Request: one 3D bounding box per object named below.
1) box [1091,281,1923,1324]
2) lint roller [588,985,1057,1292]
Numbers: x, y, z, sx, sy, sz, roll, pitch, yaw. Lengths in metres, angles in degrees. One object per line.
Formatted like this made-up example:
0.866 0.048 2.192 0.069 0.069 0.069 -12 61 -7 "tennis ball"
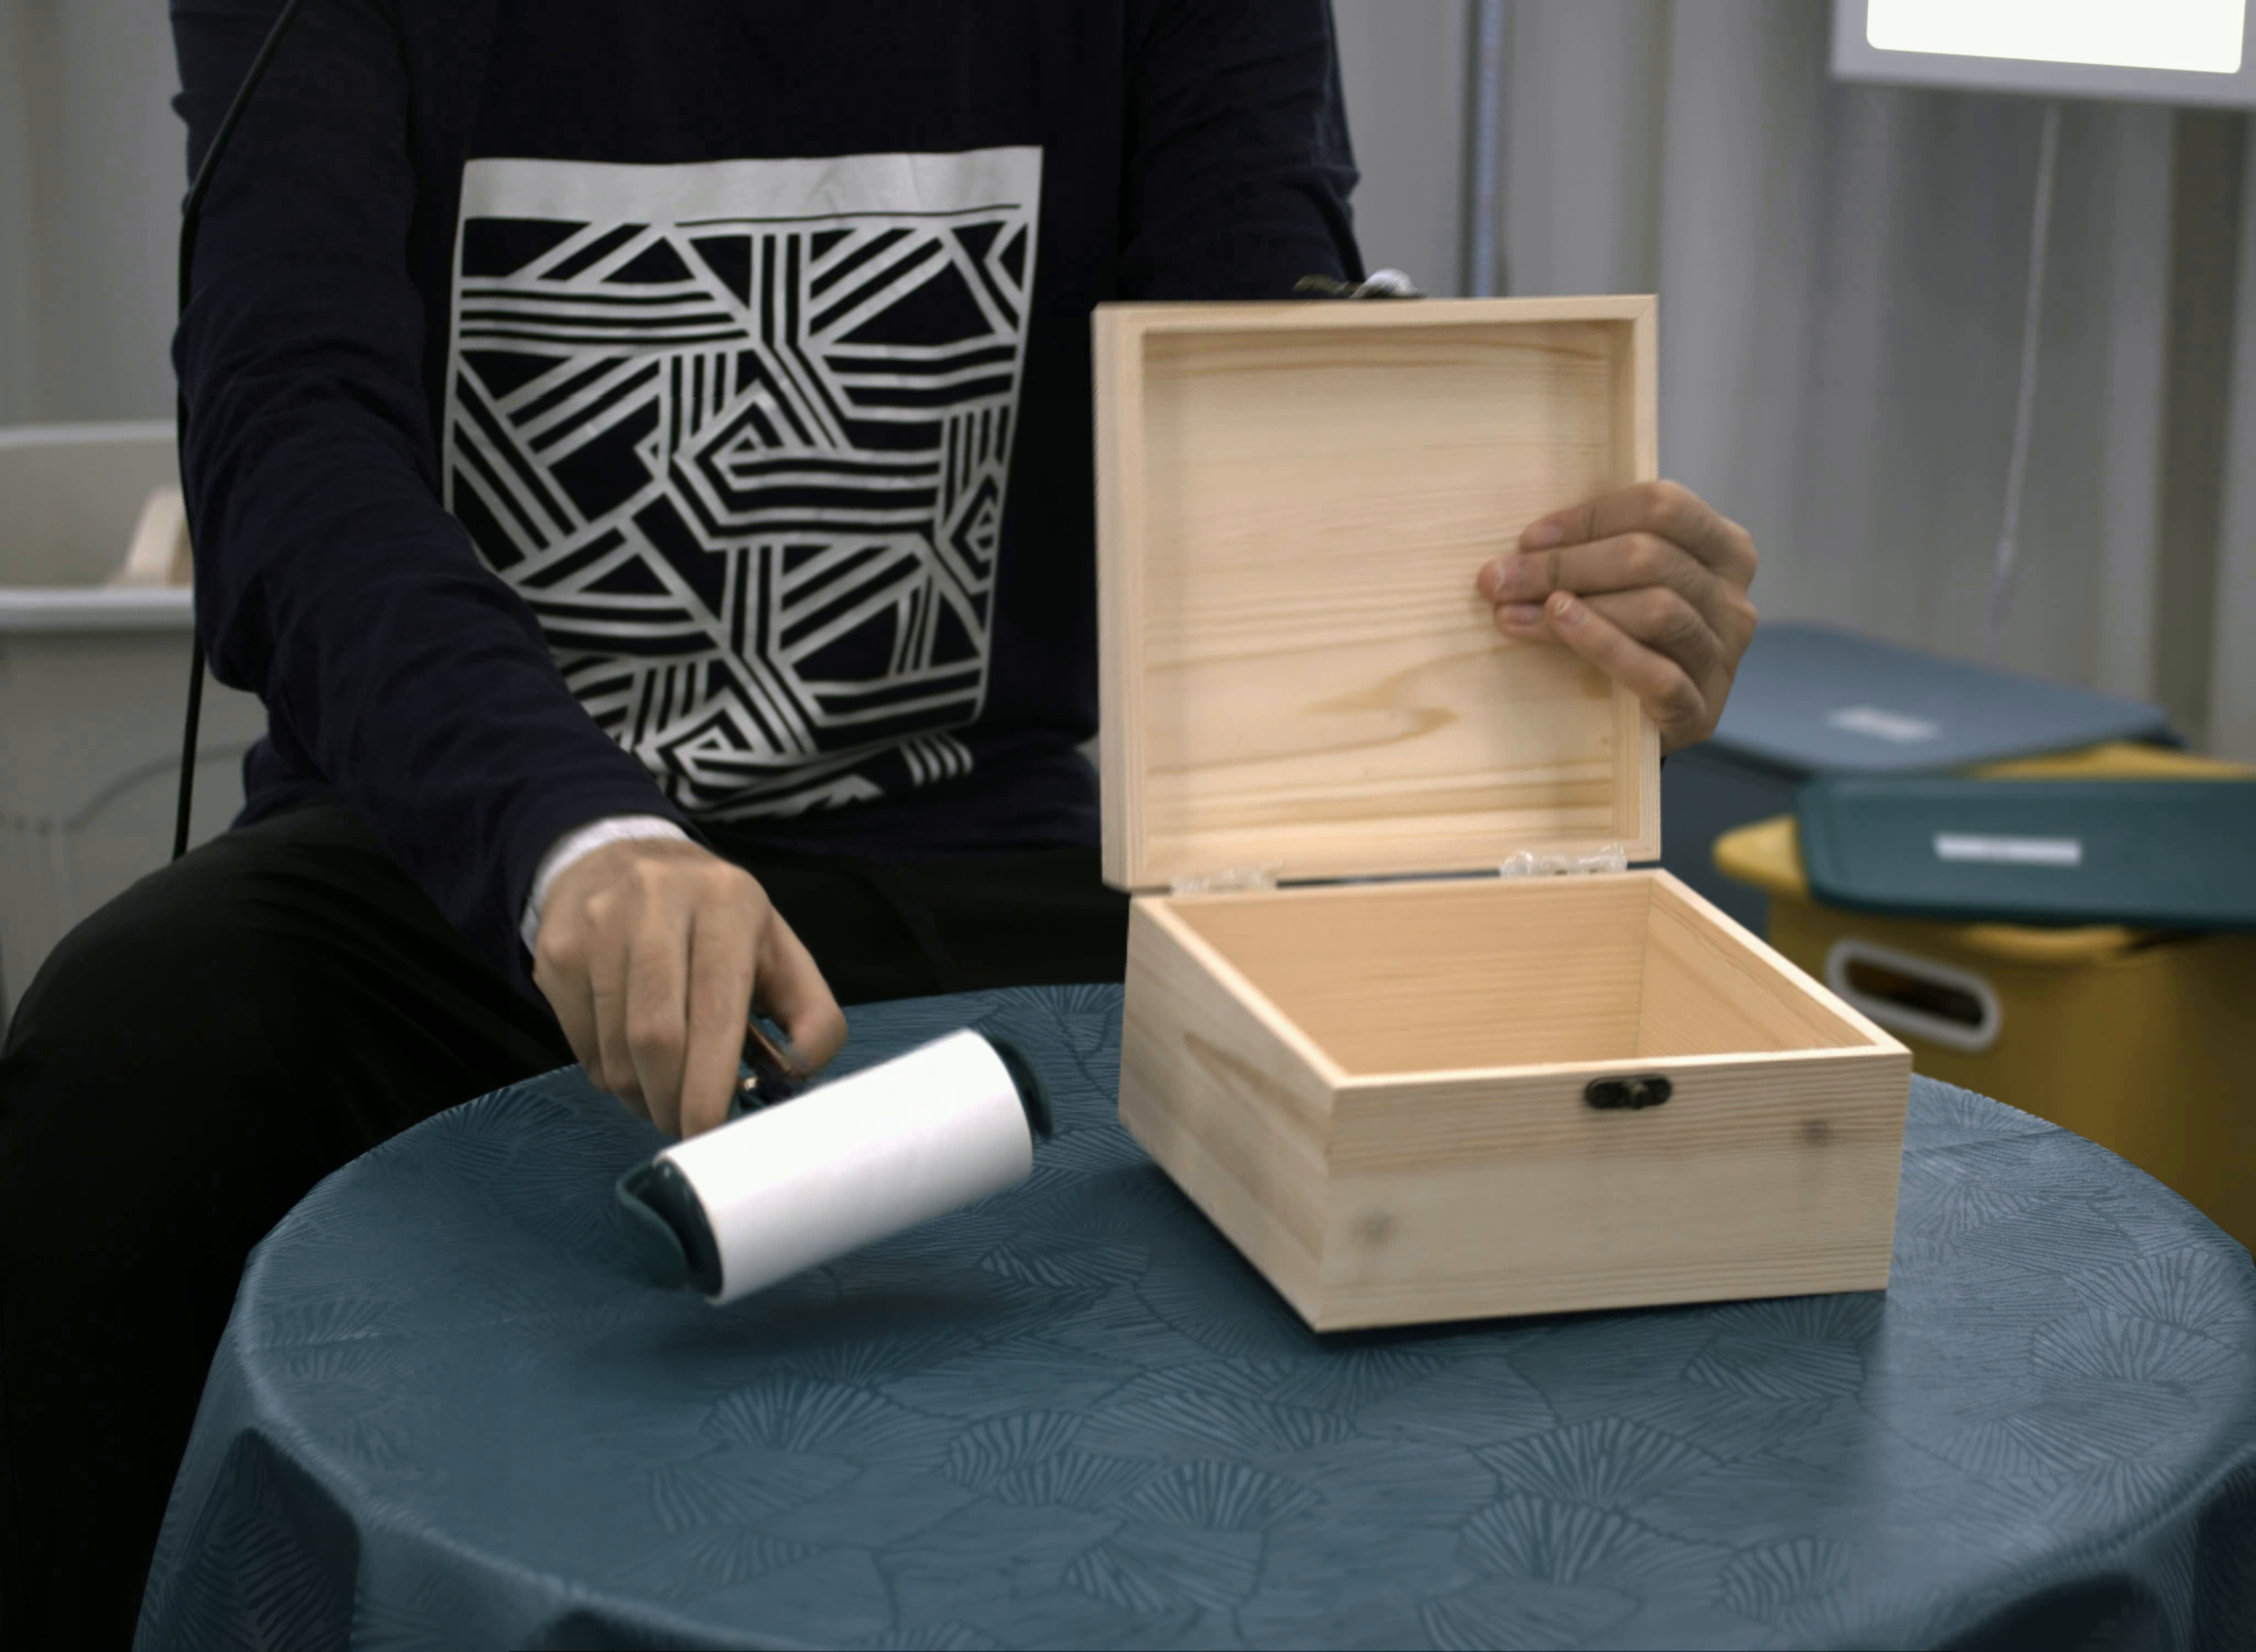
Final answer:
0.109 -0.018 1.587 0.182 0.255 0.262 -3 19 -20 "box"
-0.117 0.068 1.552 0.134 0.049 0.177 -22 33 -23 "lint roller"
